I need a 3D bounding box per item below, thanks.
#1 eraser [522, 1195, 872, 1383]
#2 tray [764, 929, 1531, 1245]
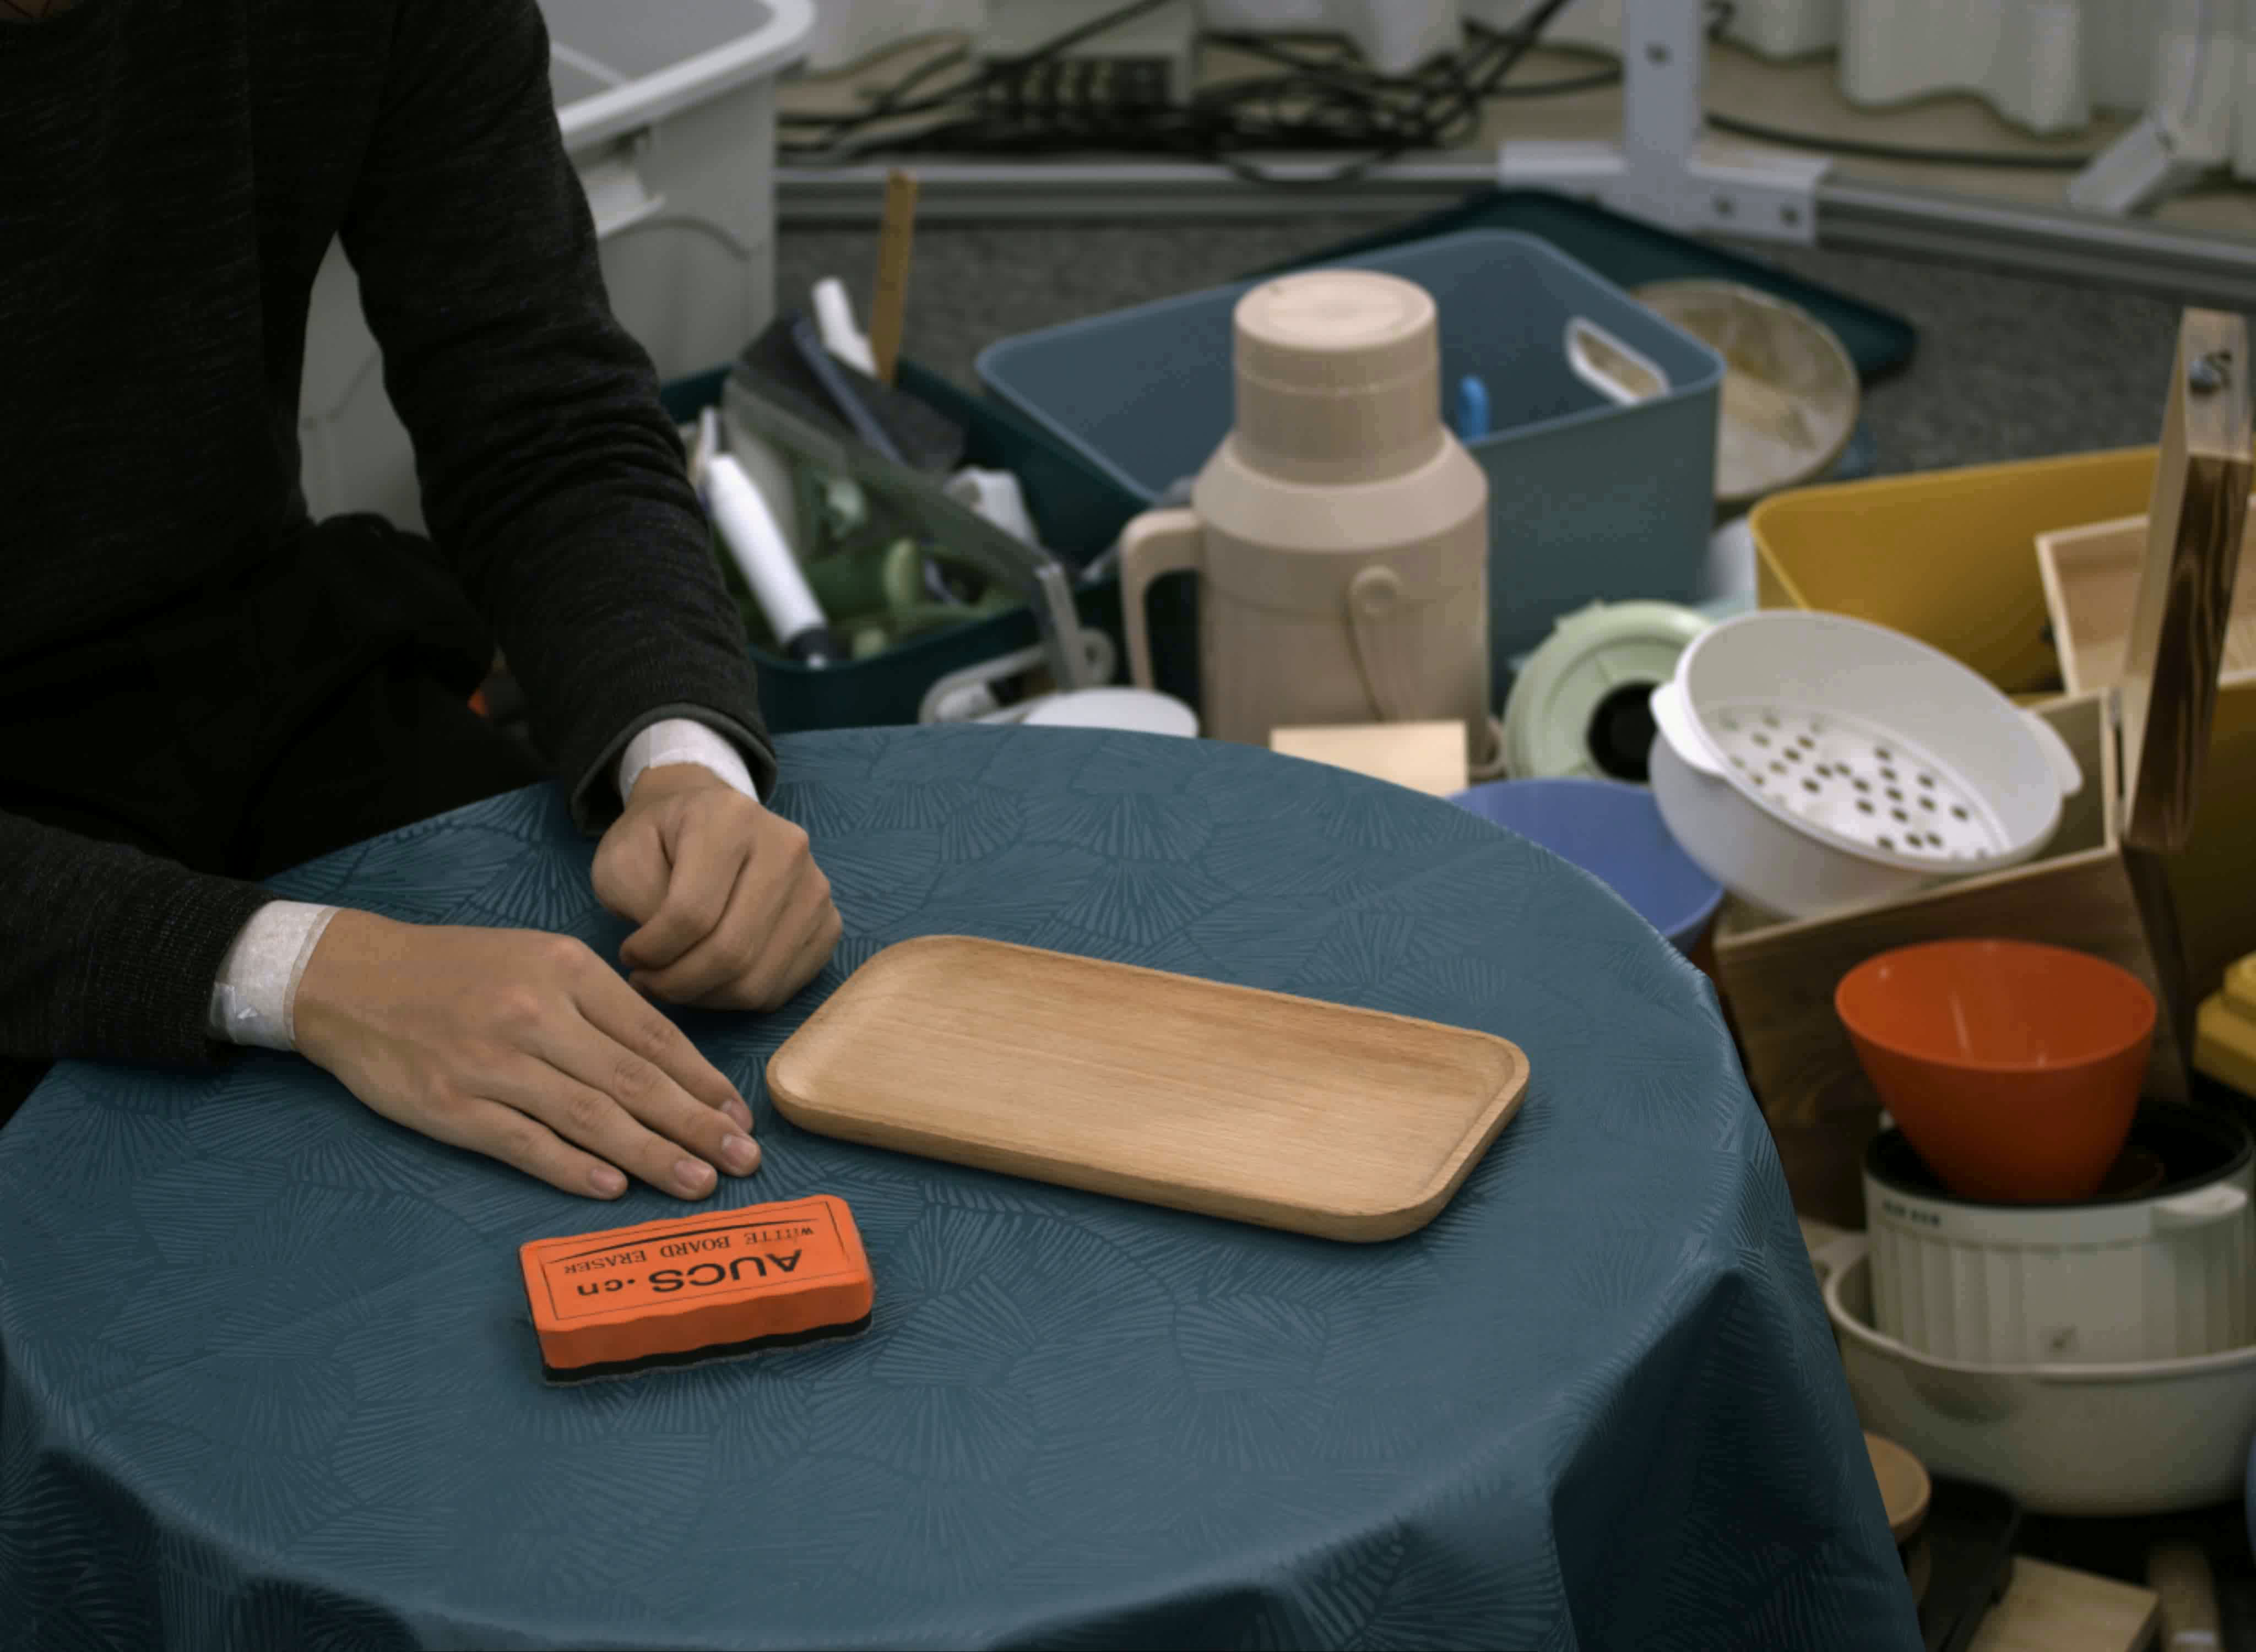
[{"bbox_3d":[-0.138,0.148,1.797,0.108,0.022,0.059,-8,28,-9],"label":"eraser"},{"bbox_3d":[0.006,0.088,1.907,0.249,0.022,0.132,10,28,24],"label":"tray"}]
